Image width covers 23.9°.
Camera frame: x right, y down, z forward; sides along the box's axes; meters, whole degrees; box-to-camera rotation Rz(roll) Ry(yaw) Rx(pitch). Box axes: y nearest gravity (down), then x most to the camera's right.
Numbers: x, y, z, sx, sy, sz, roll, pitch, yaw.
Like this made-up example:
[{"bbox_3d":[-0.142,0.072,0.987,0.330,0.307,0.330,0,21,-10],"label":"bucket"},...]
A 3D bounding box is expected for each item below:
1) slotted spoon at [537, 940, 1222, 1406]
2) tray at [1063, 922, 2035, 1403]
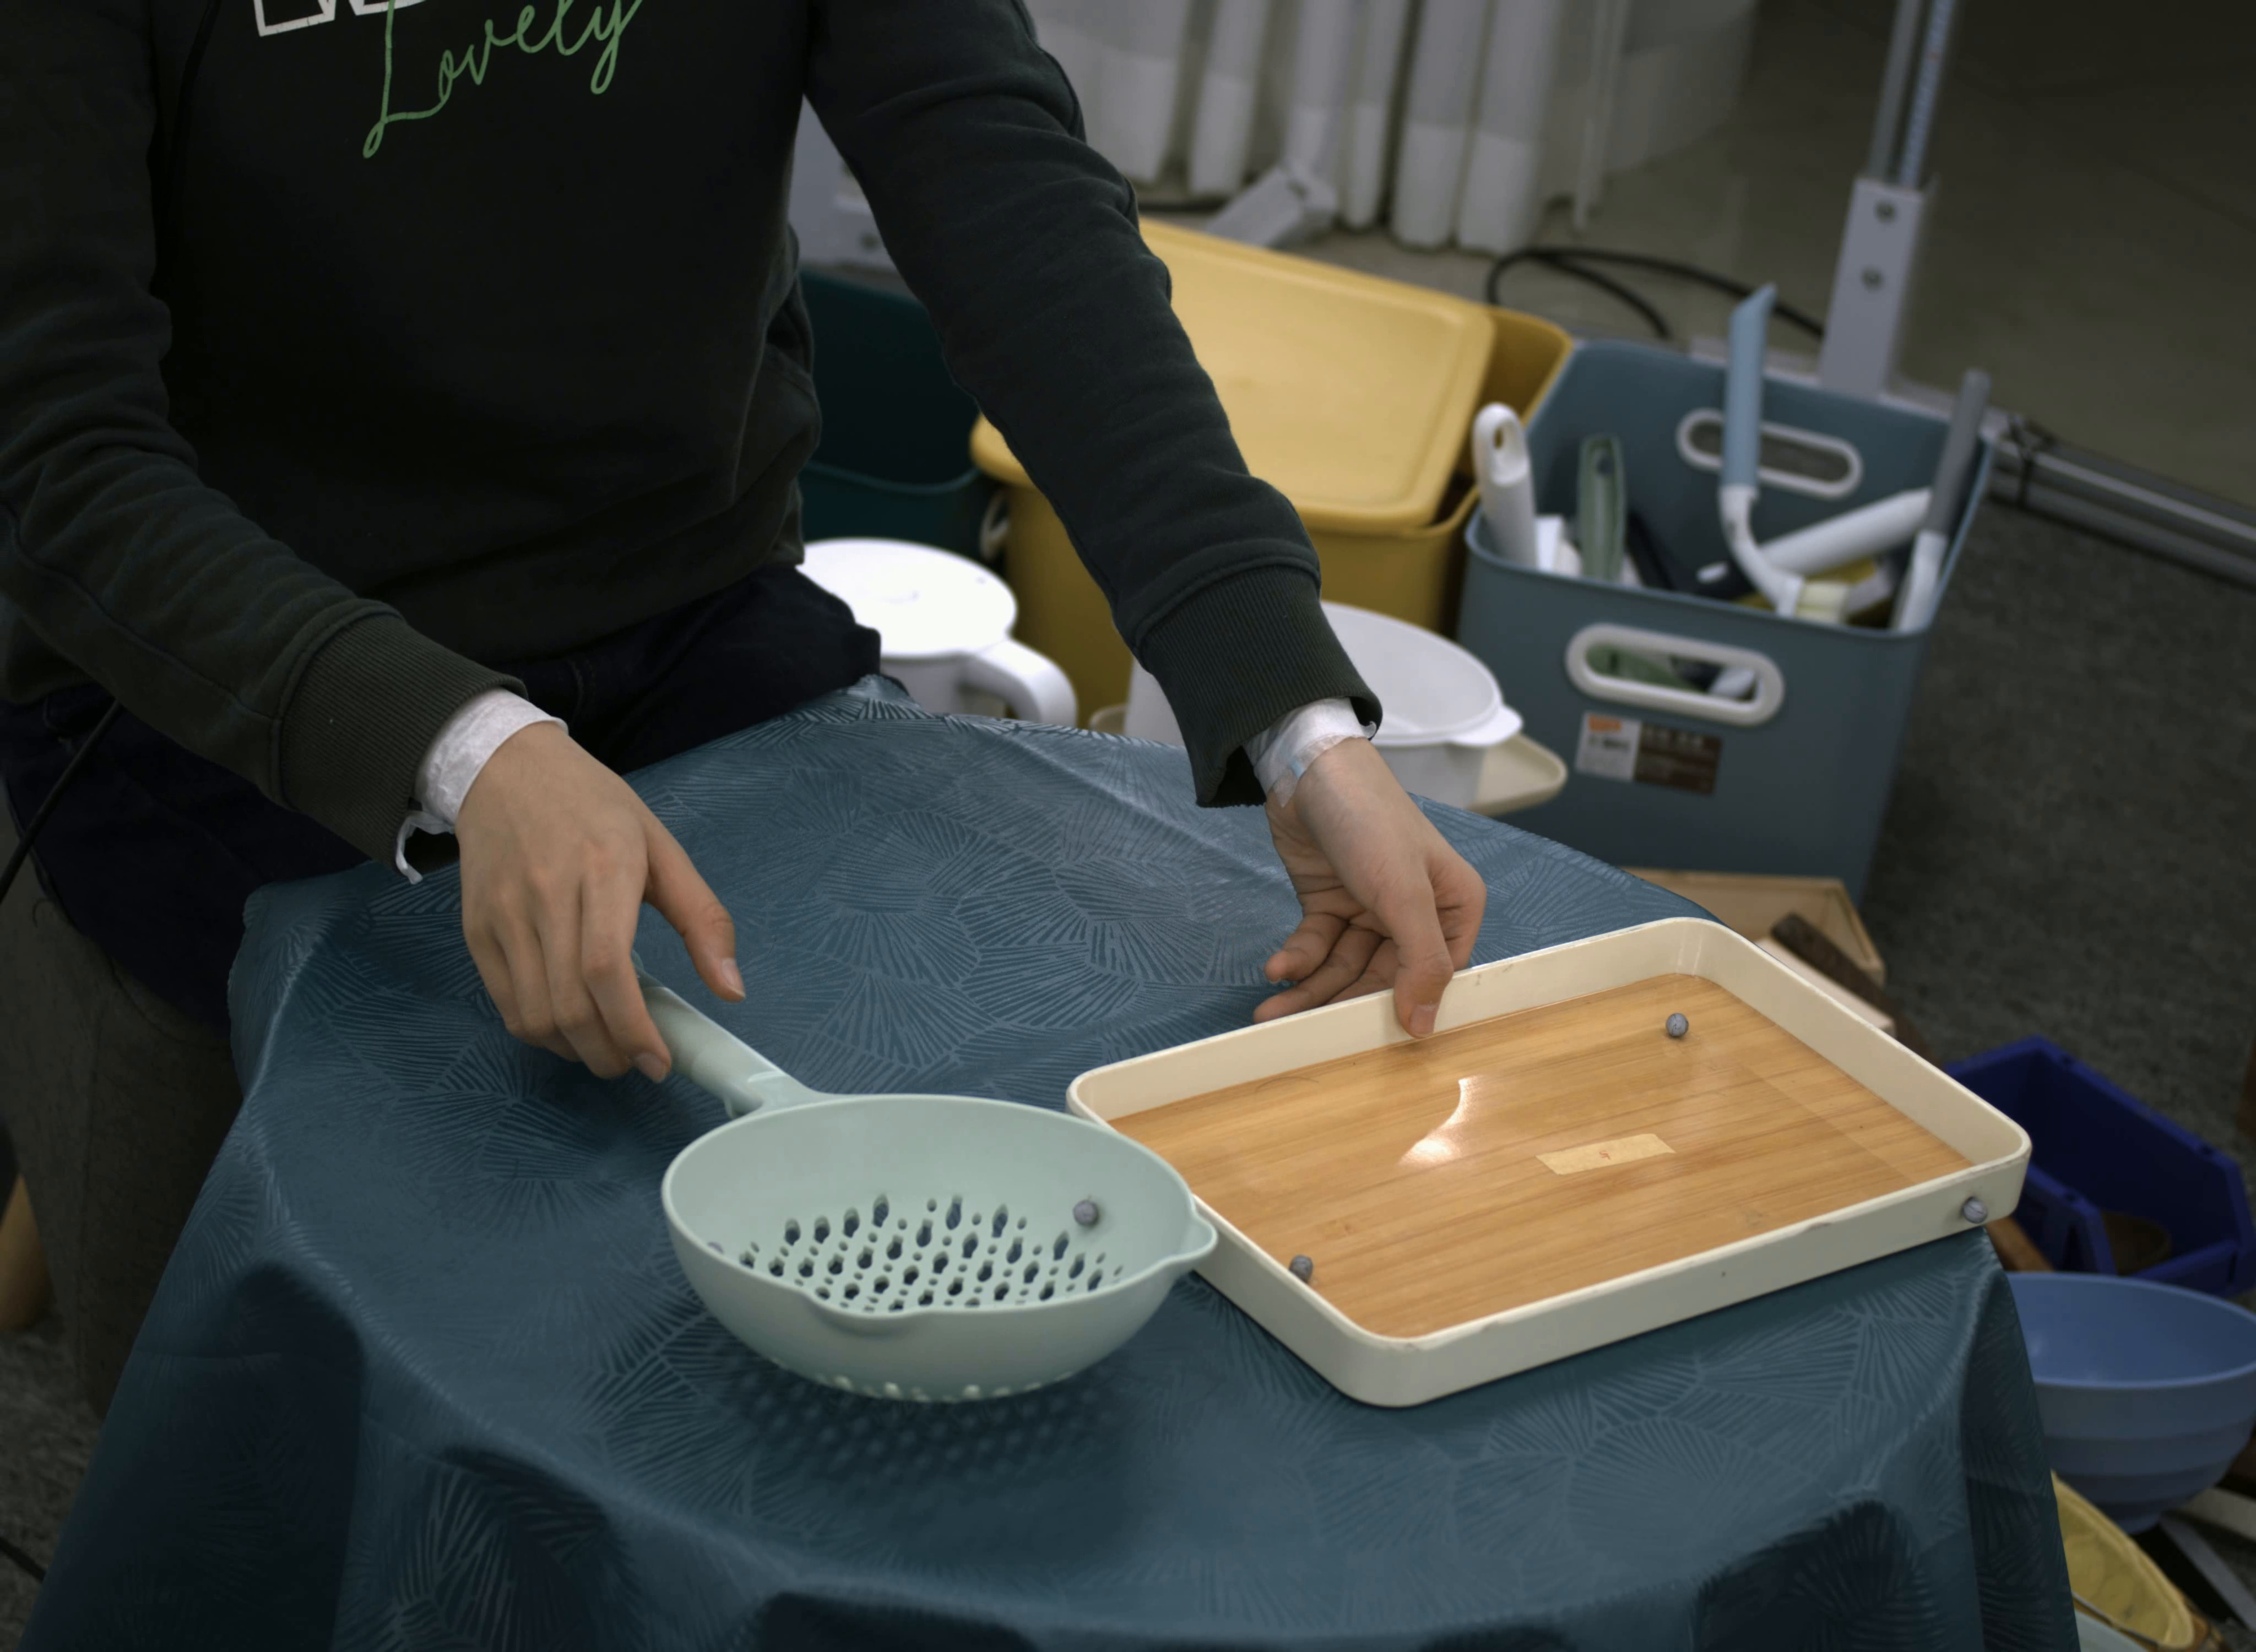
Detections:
[{"bbox_3d":[-0.113,0.098,1.754,0.168,0.075,0.362,-8,30,-30],"label":"slotted spoon"},{"bbox_3d":[0.145,0.111,1.830,0.298,0.027,0.193,-12,32,-33],"label":"tray"}]
